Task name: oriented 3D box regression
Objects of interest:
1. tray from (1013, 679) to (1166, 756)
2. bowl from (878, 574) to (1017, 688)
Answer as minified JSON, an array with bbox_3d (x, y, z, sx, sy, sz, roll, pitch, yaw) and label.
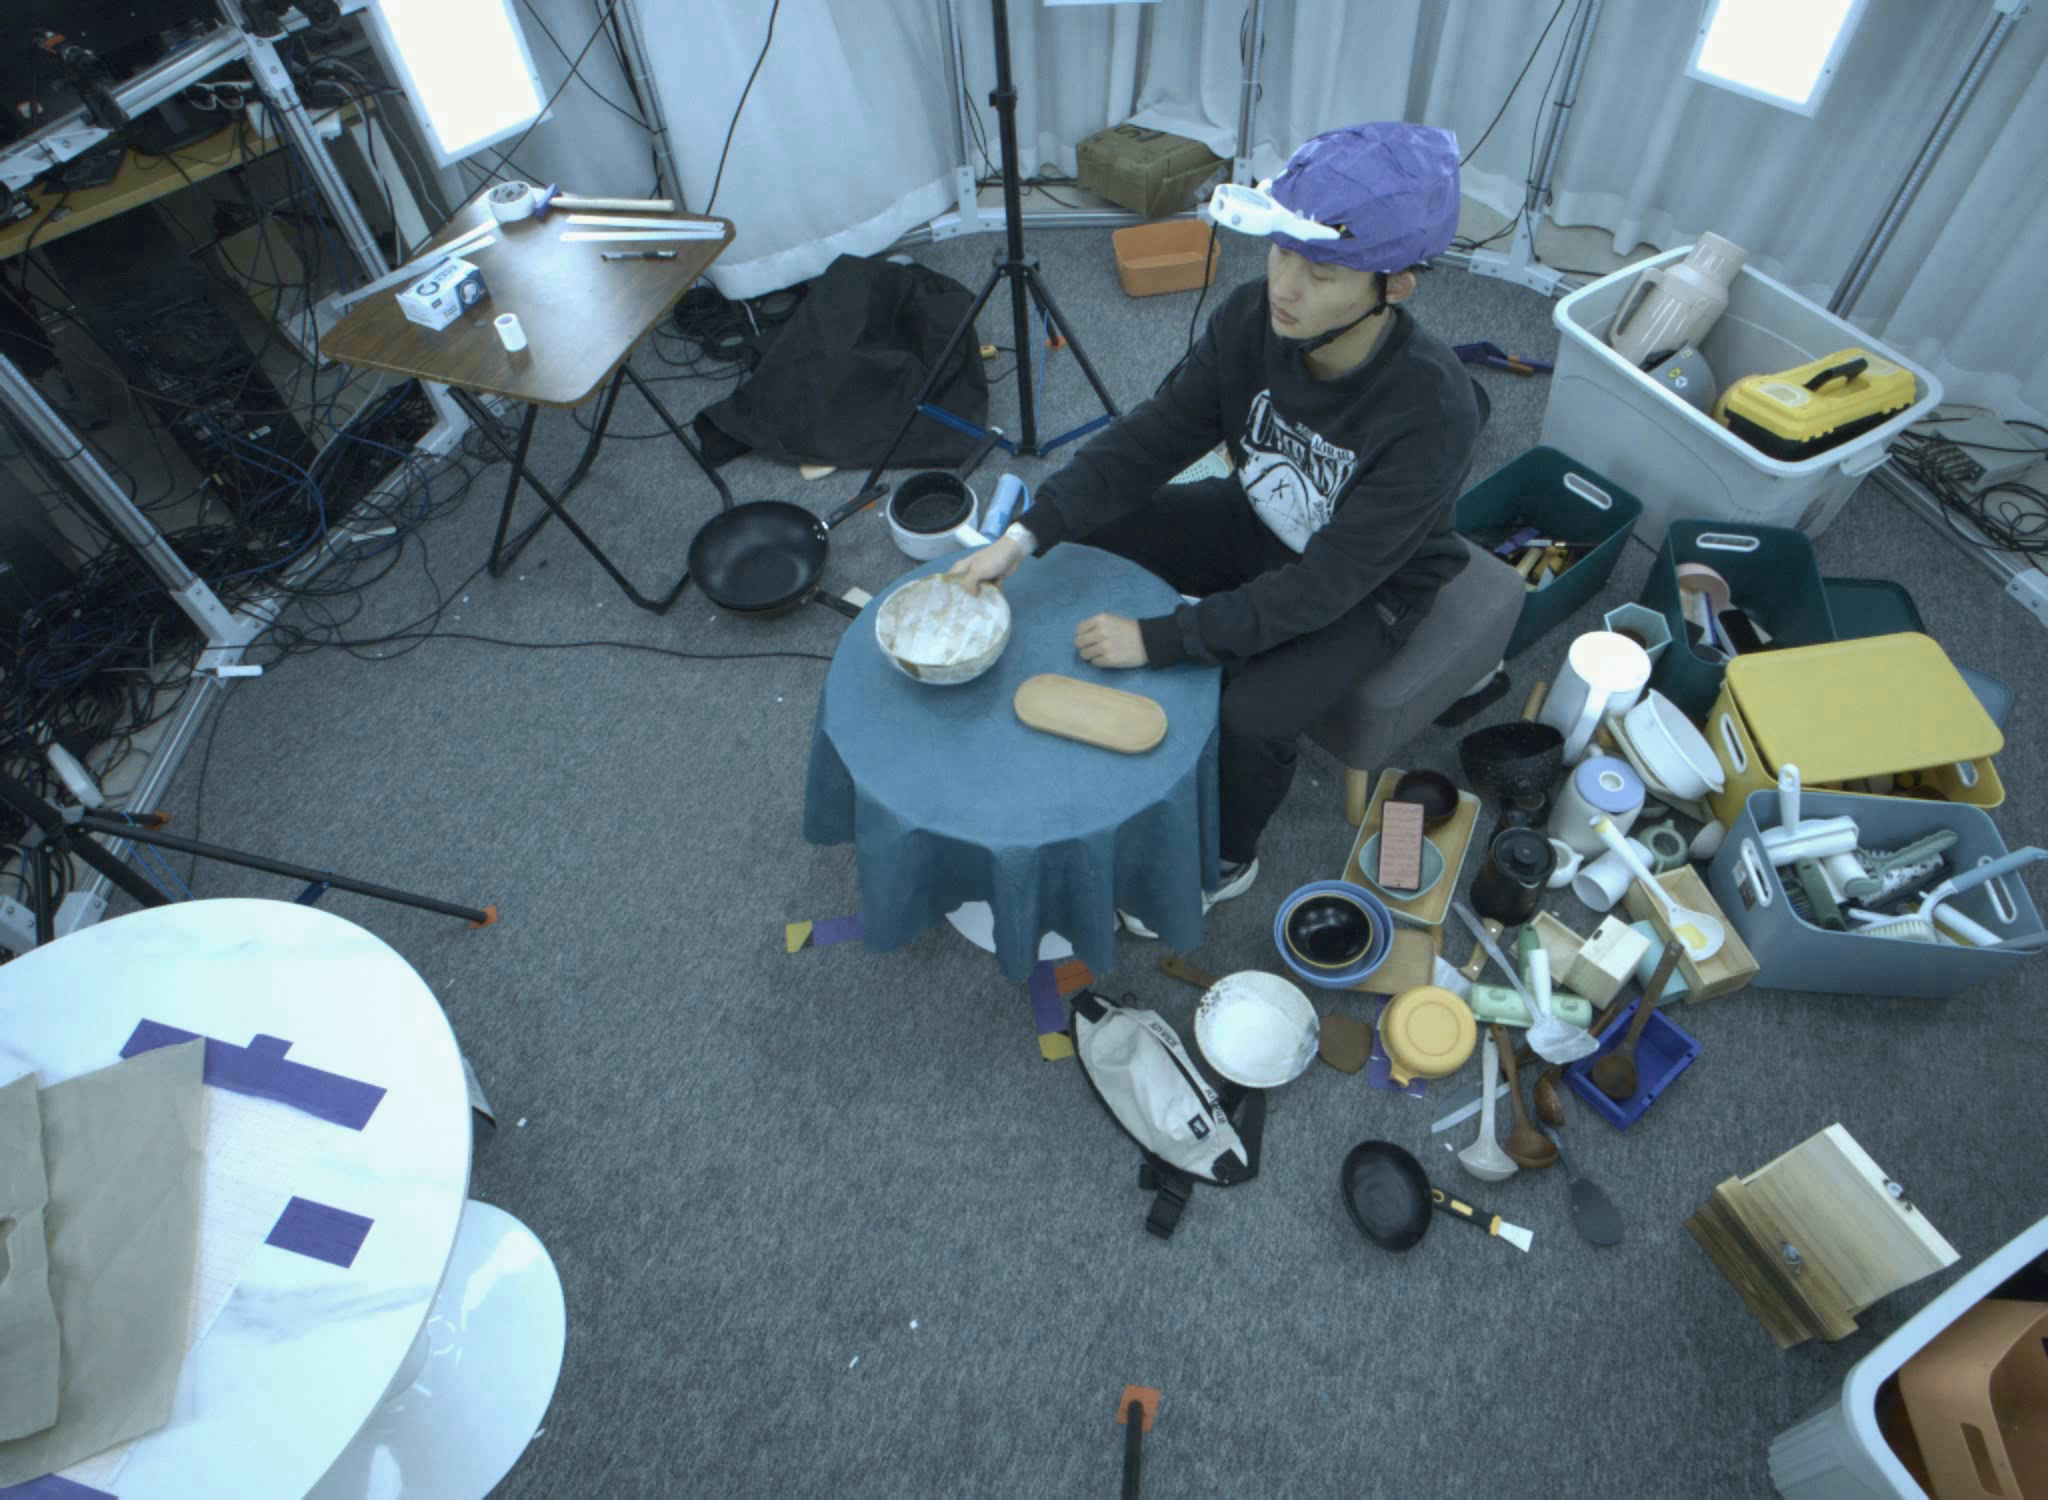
[{"bbox_3d":[0.096,-0.048,1.820,0.229,0.020,0.101,13,54,13],"label":"tray"},{"bbox_3d":[-0.111,-0.162,1.855,0.214,0.095,0.212,-1,50,2],"label":"bowl"}]
